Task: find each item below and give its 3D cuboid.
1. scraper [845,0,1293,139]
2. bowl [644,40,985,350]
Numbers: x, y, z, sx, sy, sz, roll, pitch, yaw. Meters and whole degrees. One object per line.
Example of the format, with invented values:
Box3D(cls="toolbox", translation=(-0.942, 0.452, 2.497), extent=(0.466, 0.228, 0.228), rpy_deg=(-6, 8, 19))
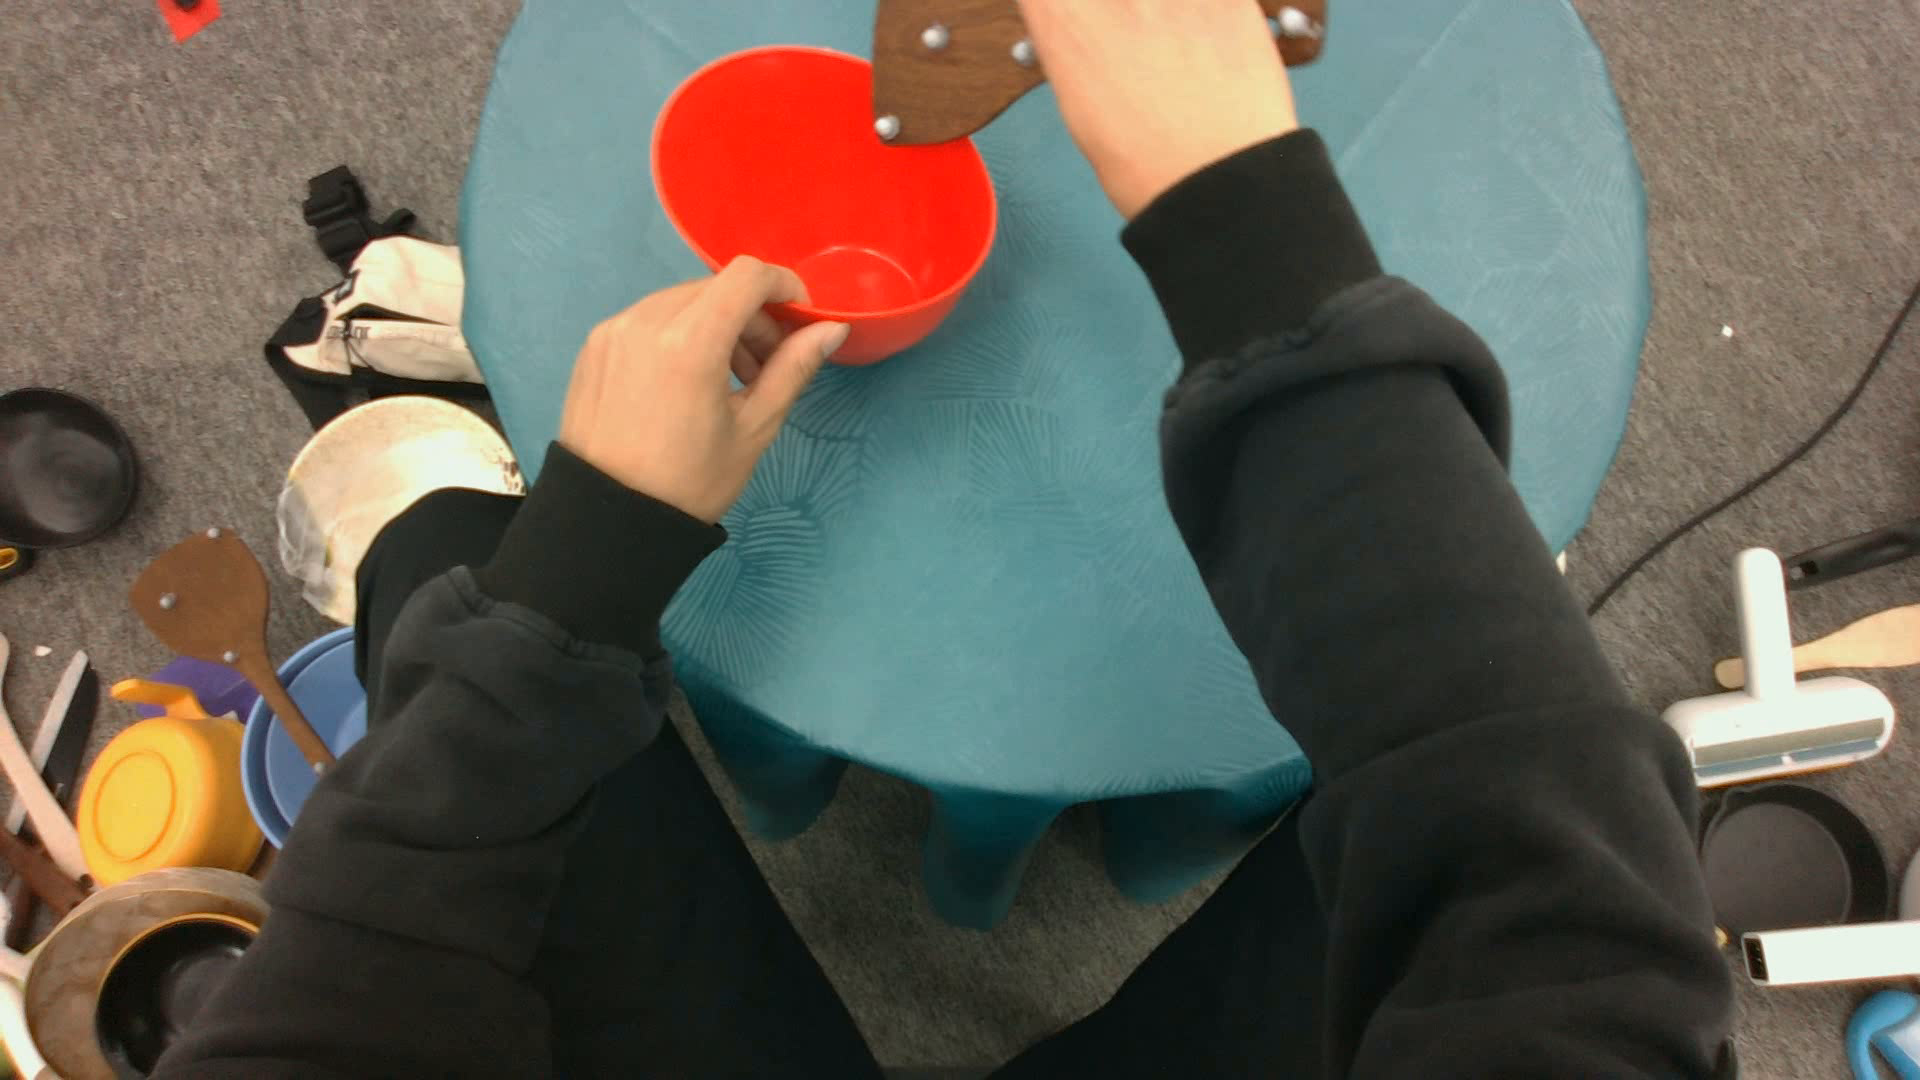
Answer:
Box3D(cls="scraper", translation=(0.036, -0.206, 0.560), extent=(0.211, 0.011, 0.075), rpy_deg=(9, 102, 35))
Box3D(cls="bowl", translation=(-0.065, -0.145, 0.633), extent=(0.148, 0.104, 0.148), rpy_deg=(3, 61, -5))
